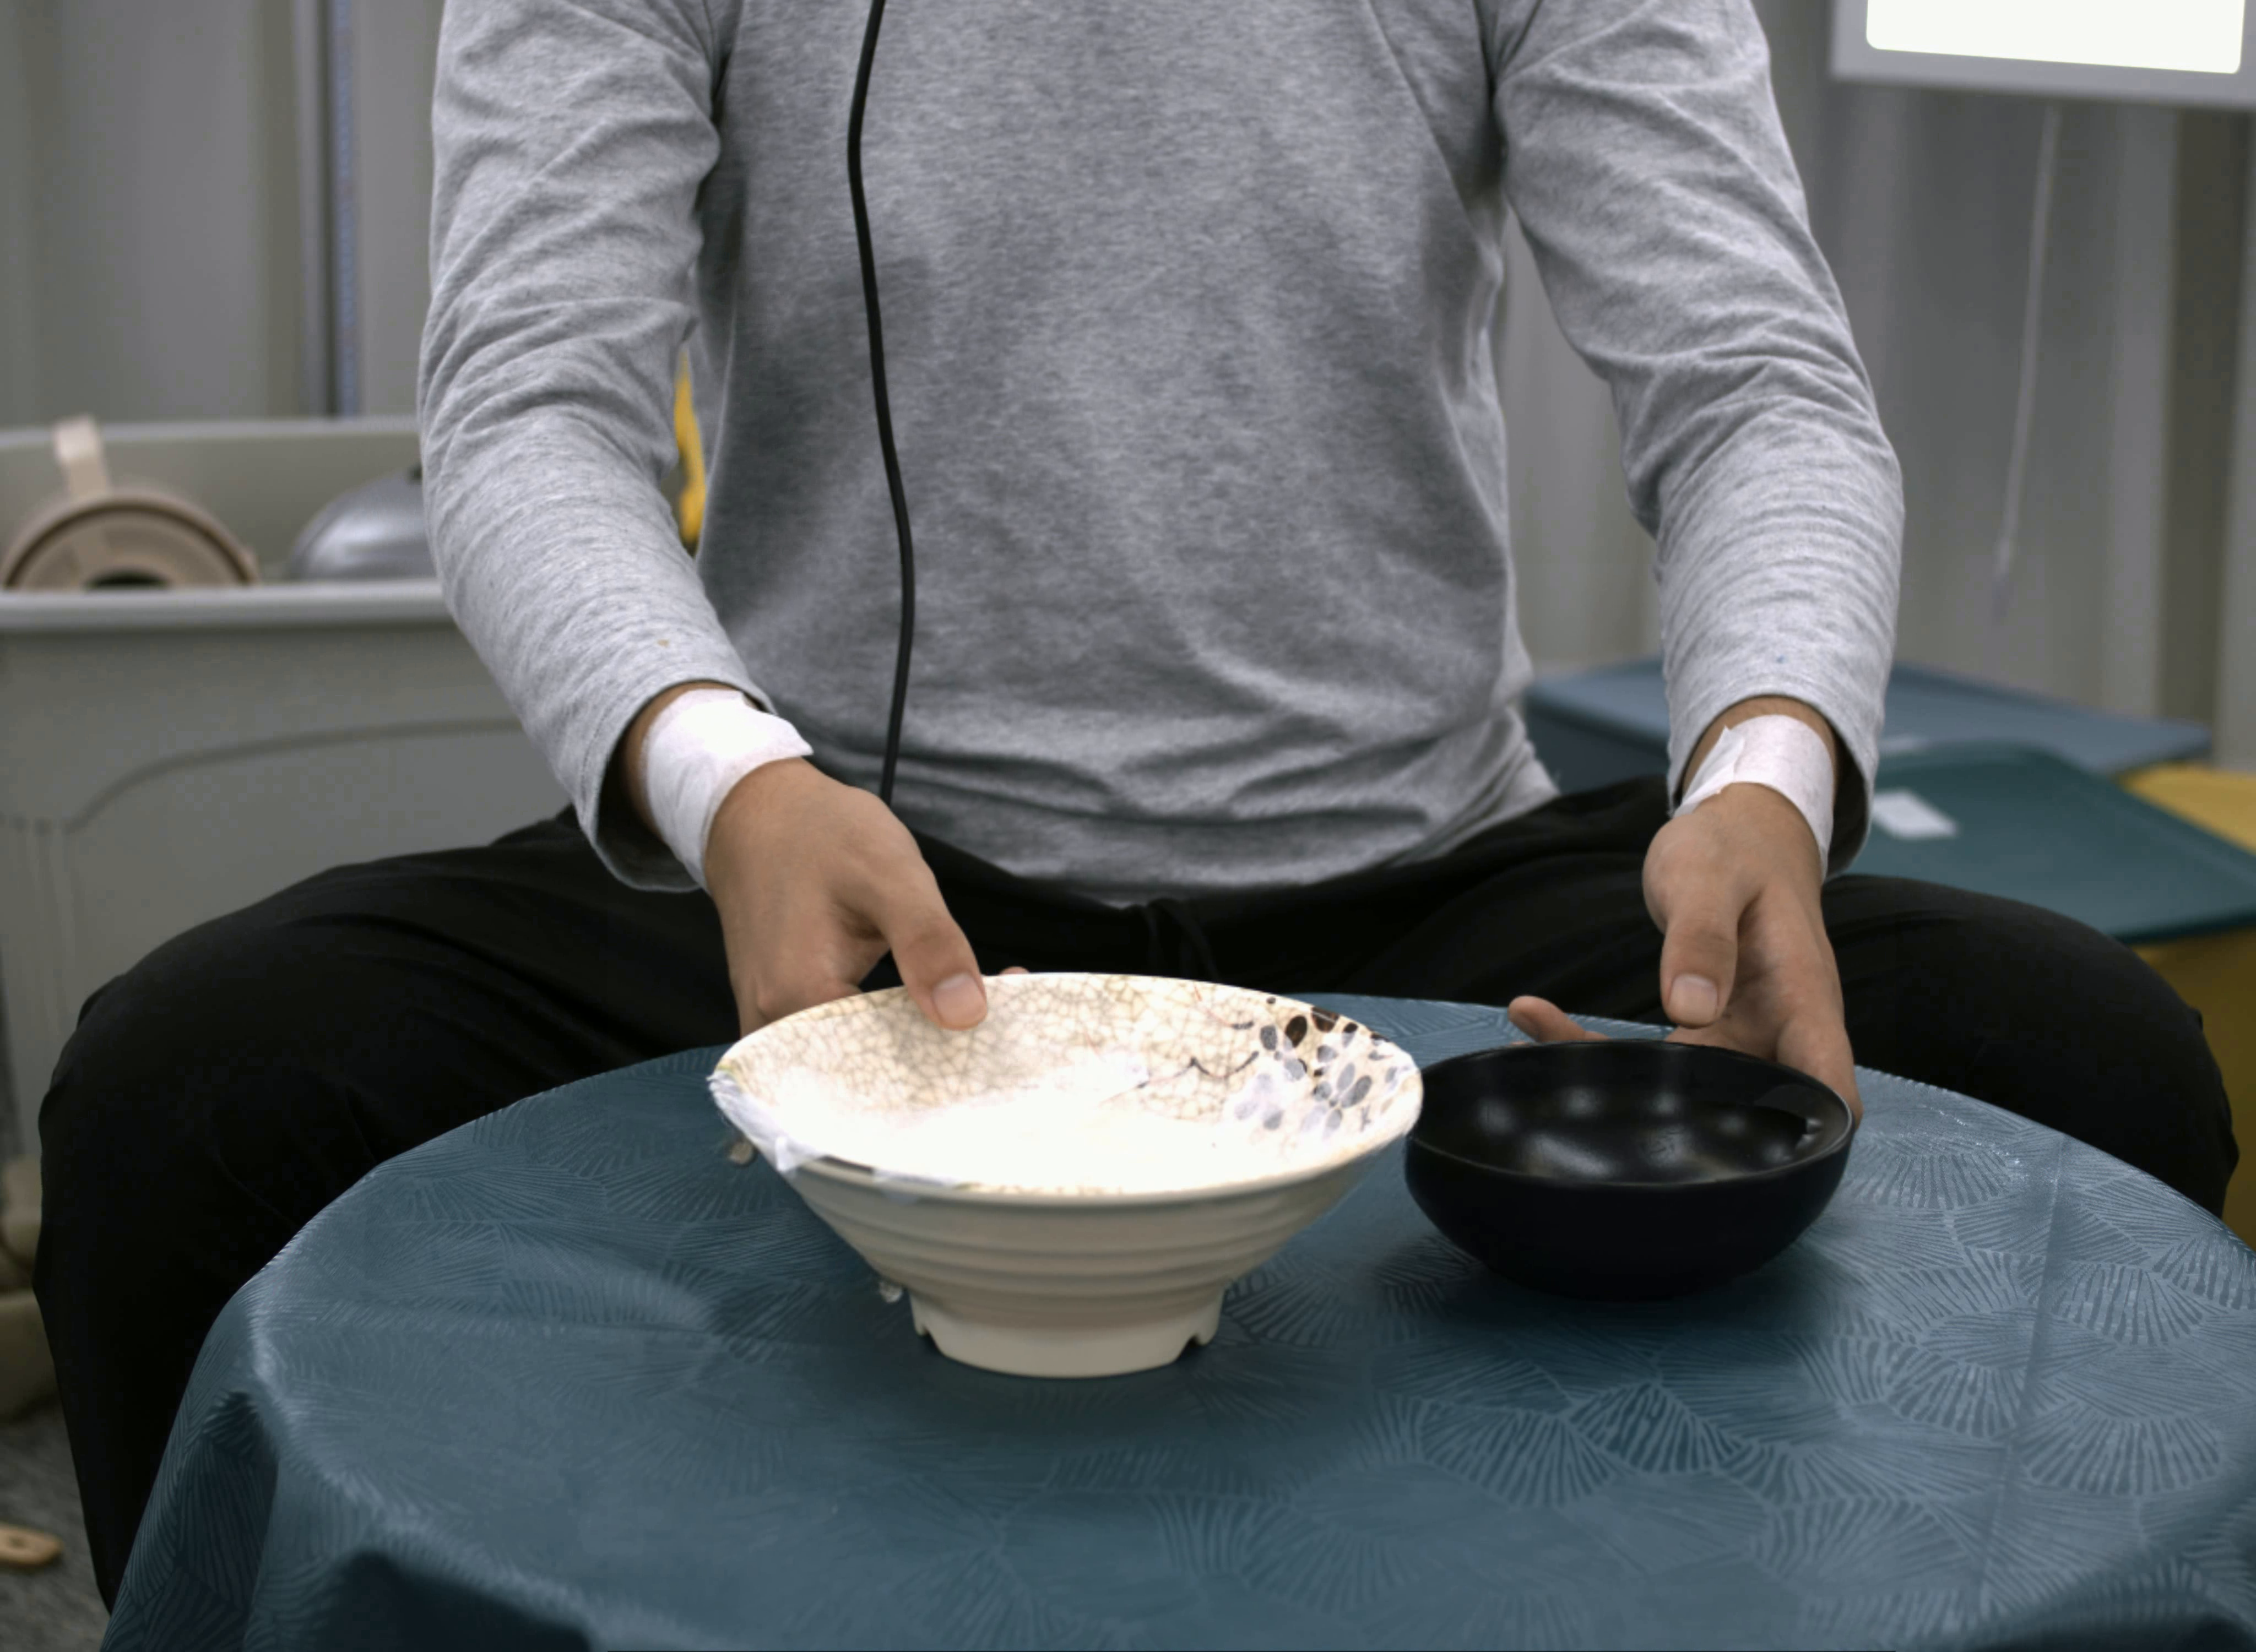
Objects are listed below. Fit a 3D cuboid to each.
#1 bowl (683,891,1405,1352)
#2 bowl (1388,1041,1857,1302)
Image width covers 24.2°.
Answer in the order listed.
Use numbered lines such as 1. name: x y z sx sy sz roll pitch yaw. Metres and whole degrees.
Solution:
1. bowl: -0.025 0.094 1.493 0.203 0.078 0.202 4 23 -1
2. bowl: 0.145 0.106 1.560 0.139 0.050 0.139 3 14 0
